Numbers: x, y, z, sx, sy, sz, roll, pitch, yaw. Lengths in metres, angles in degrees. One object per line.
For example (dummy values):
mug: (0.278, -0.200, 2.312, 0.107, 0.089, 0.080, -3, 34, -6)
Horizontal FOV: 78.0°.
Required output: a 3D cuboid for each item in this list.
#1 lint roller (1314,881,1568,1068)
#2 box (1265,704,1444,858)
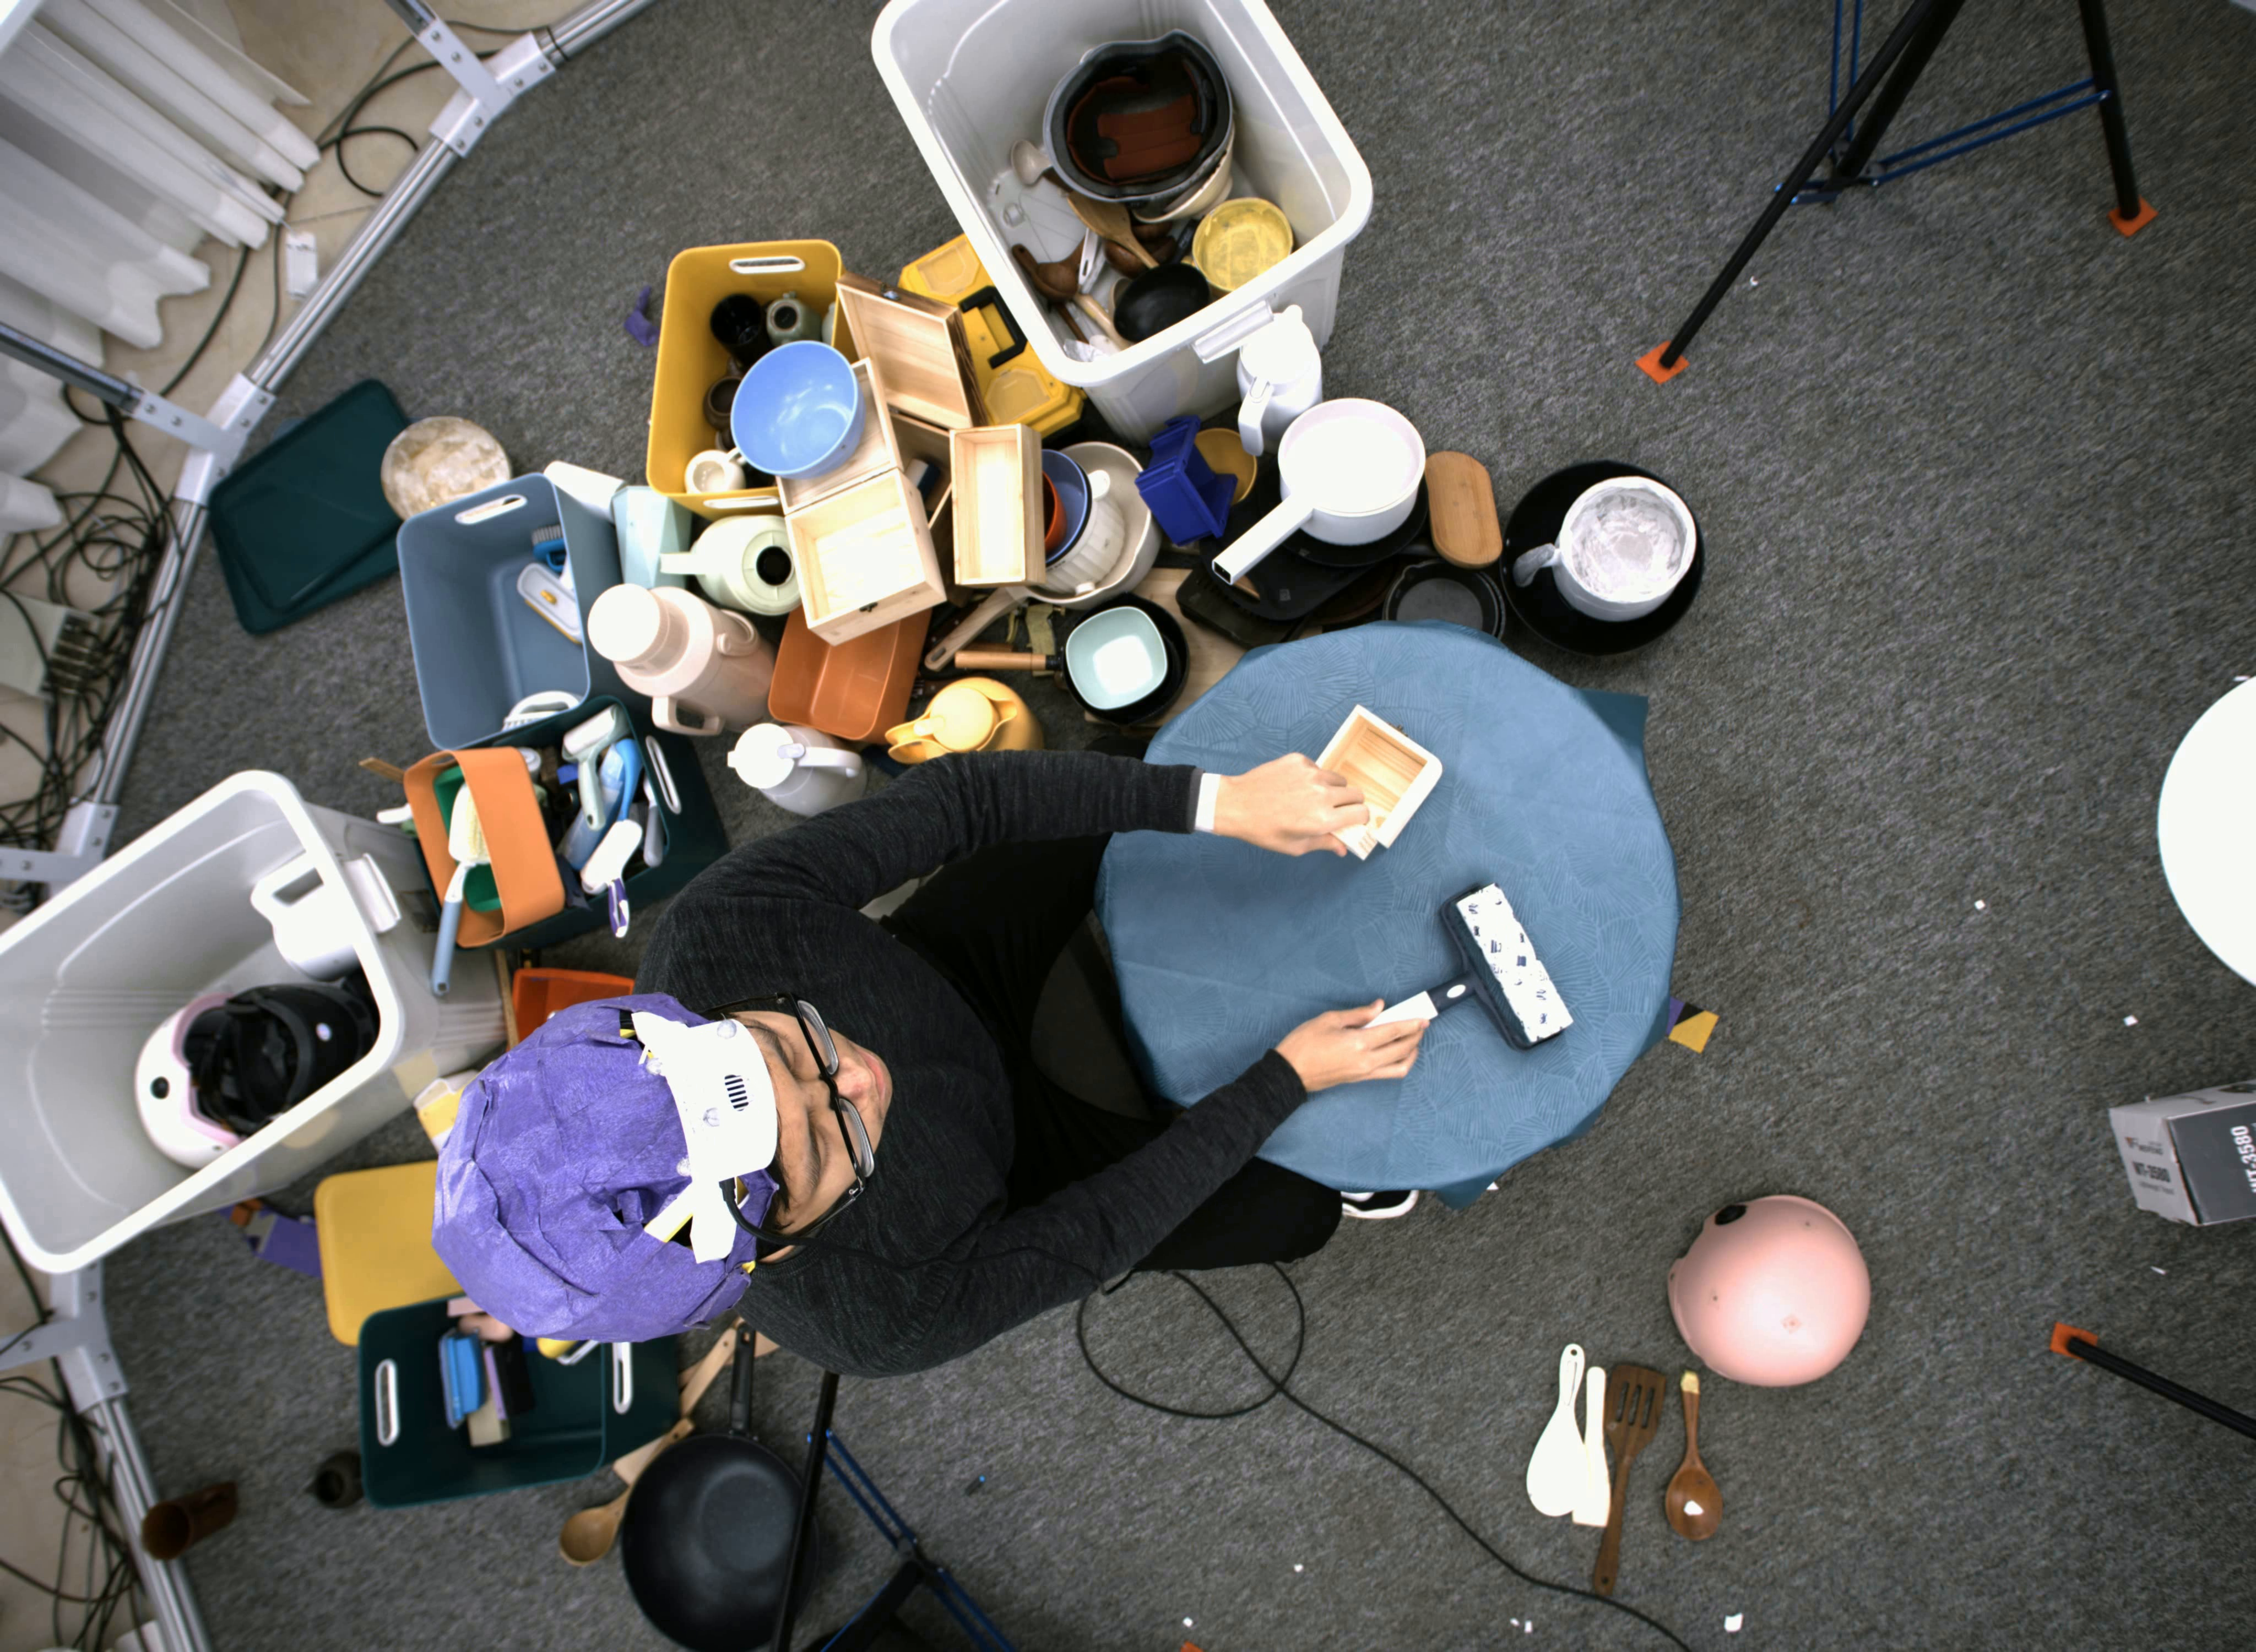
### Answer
lint roller: (0.304, 0.187, 1.420, 0.248, 0.050, 0.175, -29, 82, 9)
box: (0.231, -0.051, 1.374, 0.102, 0.184, 0.134, 37, 96, 19)
